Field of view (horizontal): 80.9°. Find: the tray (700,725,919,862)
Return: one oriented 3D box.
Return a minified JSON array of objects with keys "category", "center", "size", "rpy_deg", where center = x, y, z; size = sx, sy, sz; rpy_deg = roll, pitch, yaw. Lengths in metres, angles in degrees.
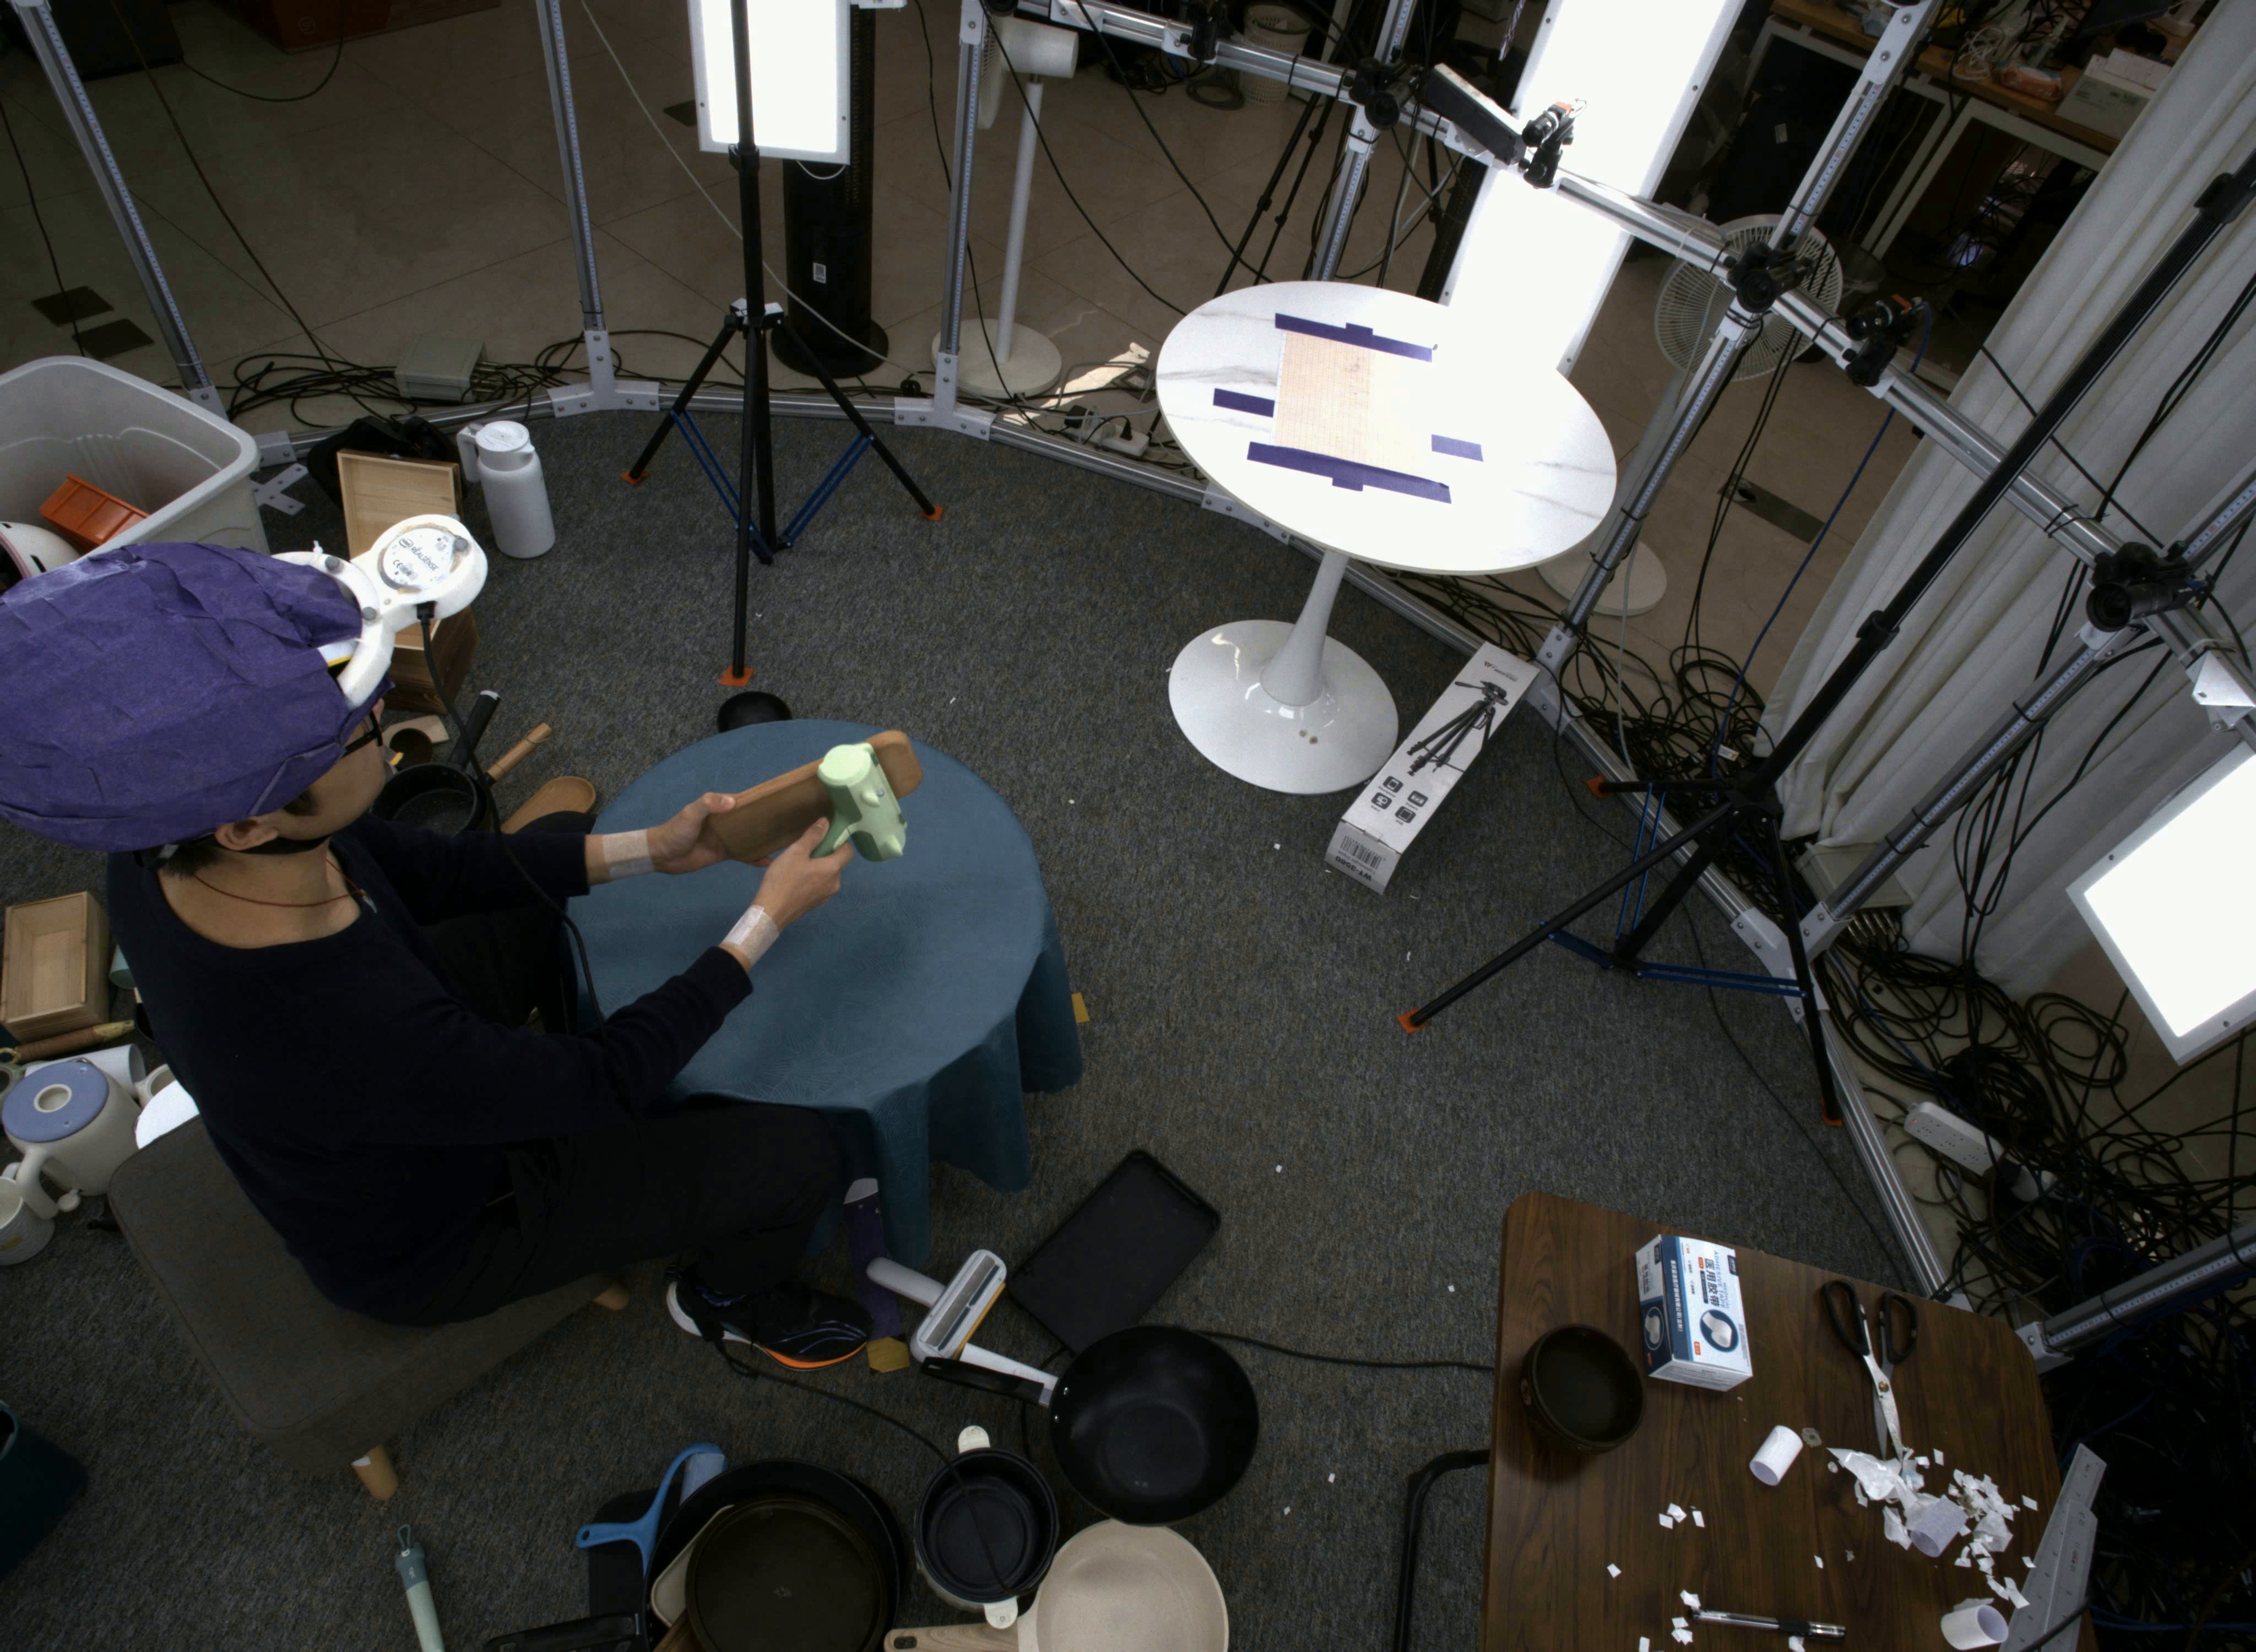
[{"category":"tray","center":[-0.368,-0.036,1.514],"size":[0.250,0.134,0.022],"rpy_deg":[-25,59,-9]}]

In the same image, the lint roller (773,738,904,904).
[{"category":"lint roller","center":[-0.327,0.021,1.484],"size":[0.080,0.204,0.183],"rpy_deg":[21,65,17]}]
